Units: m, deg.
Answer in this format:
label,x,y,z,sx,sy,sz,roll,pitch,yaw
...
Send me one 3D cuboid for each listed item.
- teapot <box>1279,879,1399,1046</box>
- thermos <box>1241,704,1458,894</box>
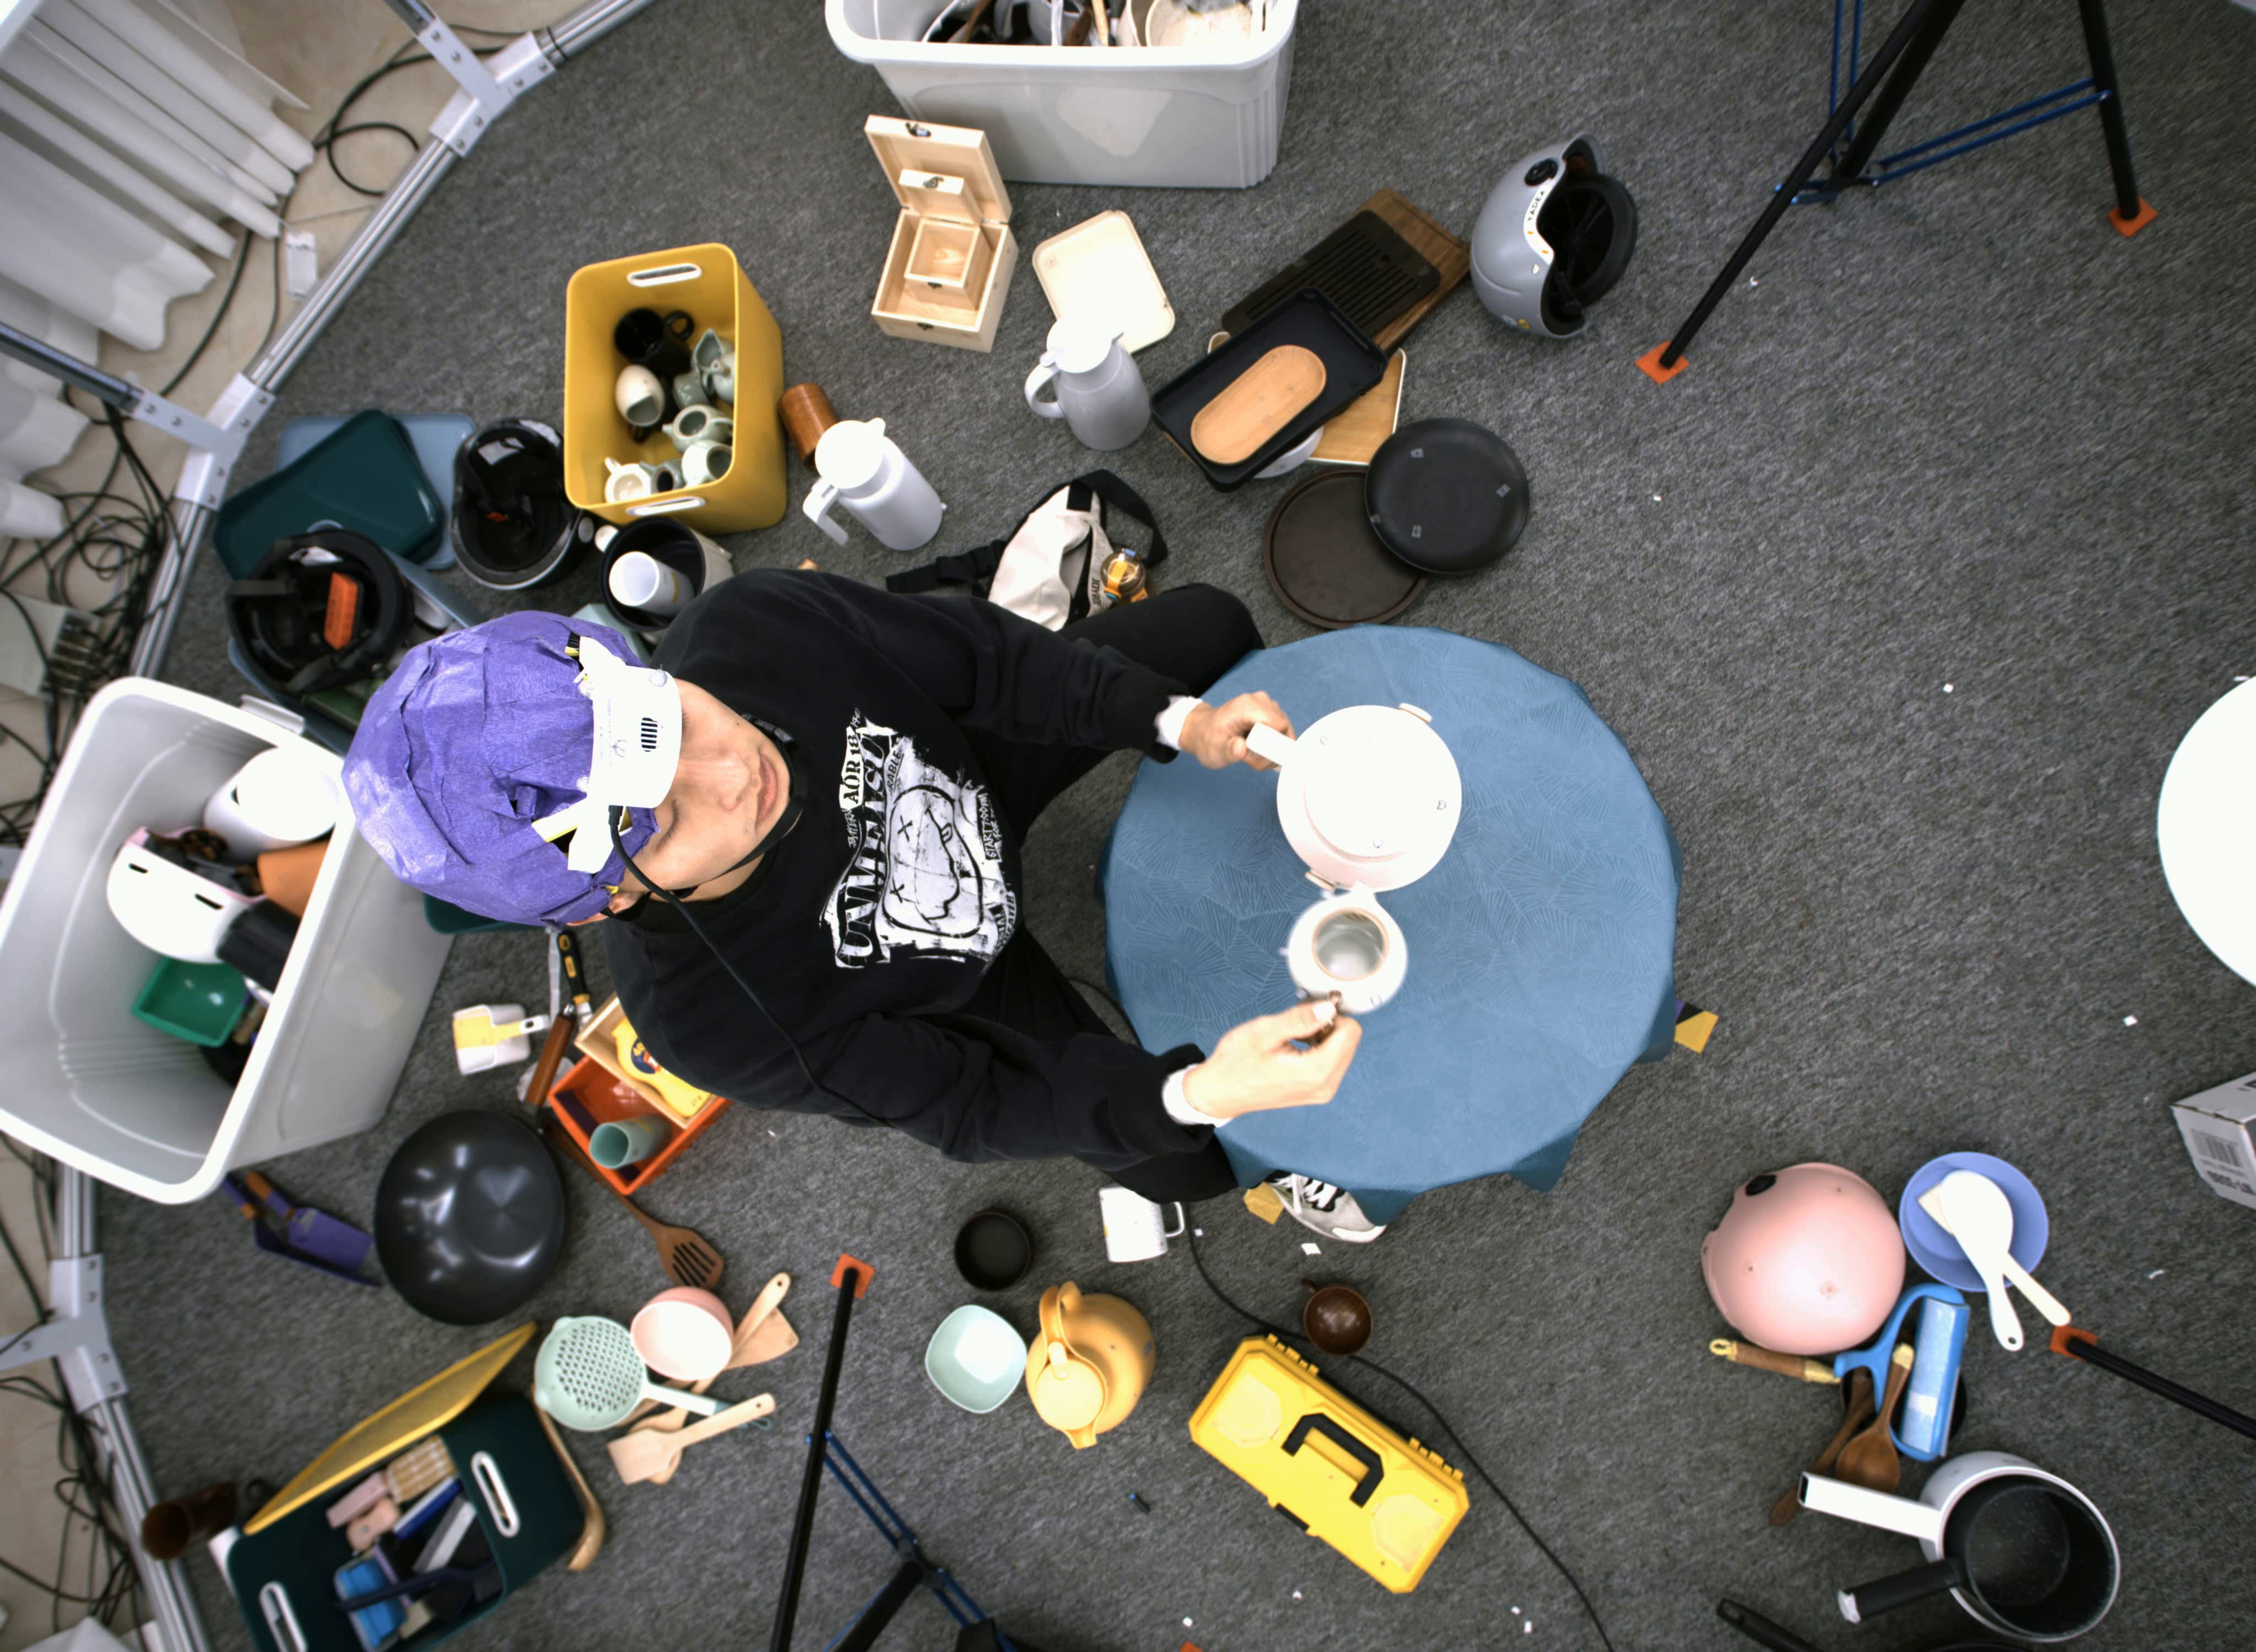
label,x,y,z,sx,sy,sz,roll,pitch,yaw
teapot,0.160,0.106,1.060,0.092,0.060,0.126,13,70,7
thermos,0.205,-0.030,1.272,0.207,0.405,0.176,27,94,8
